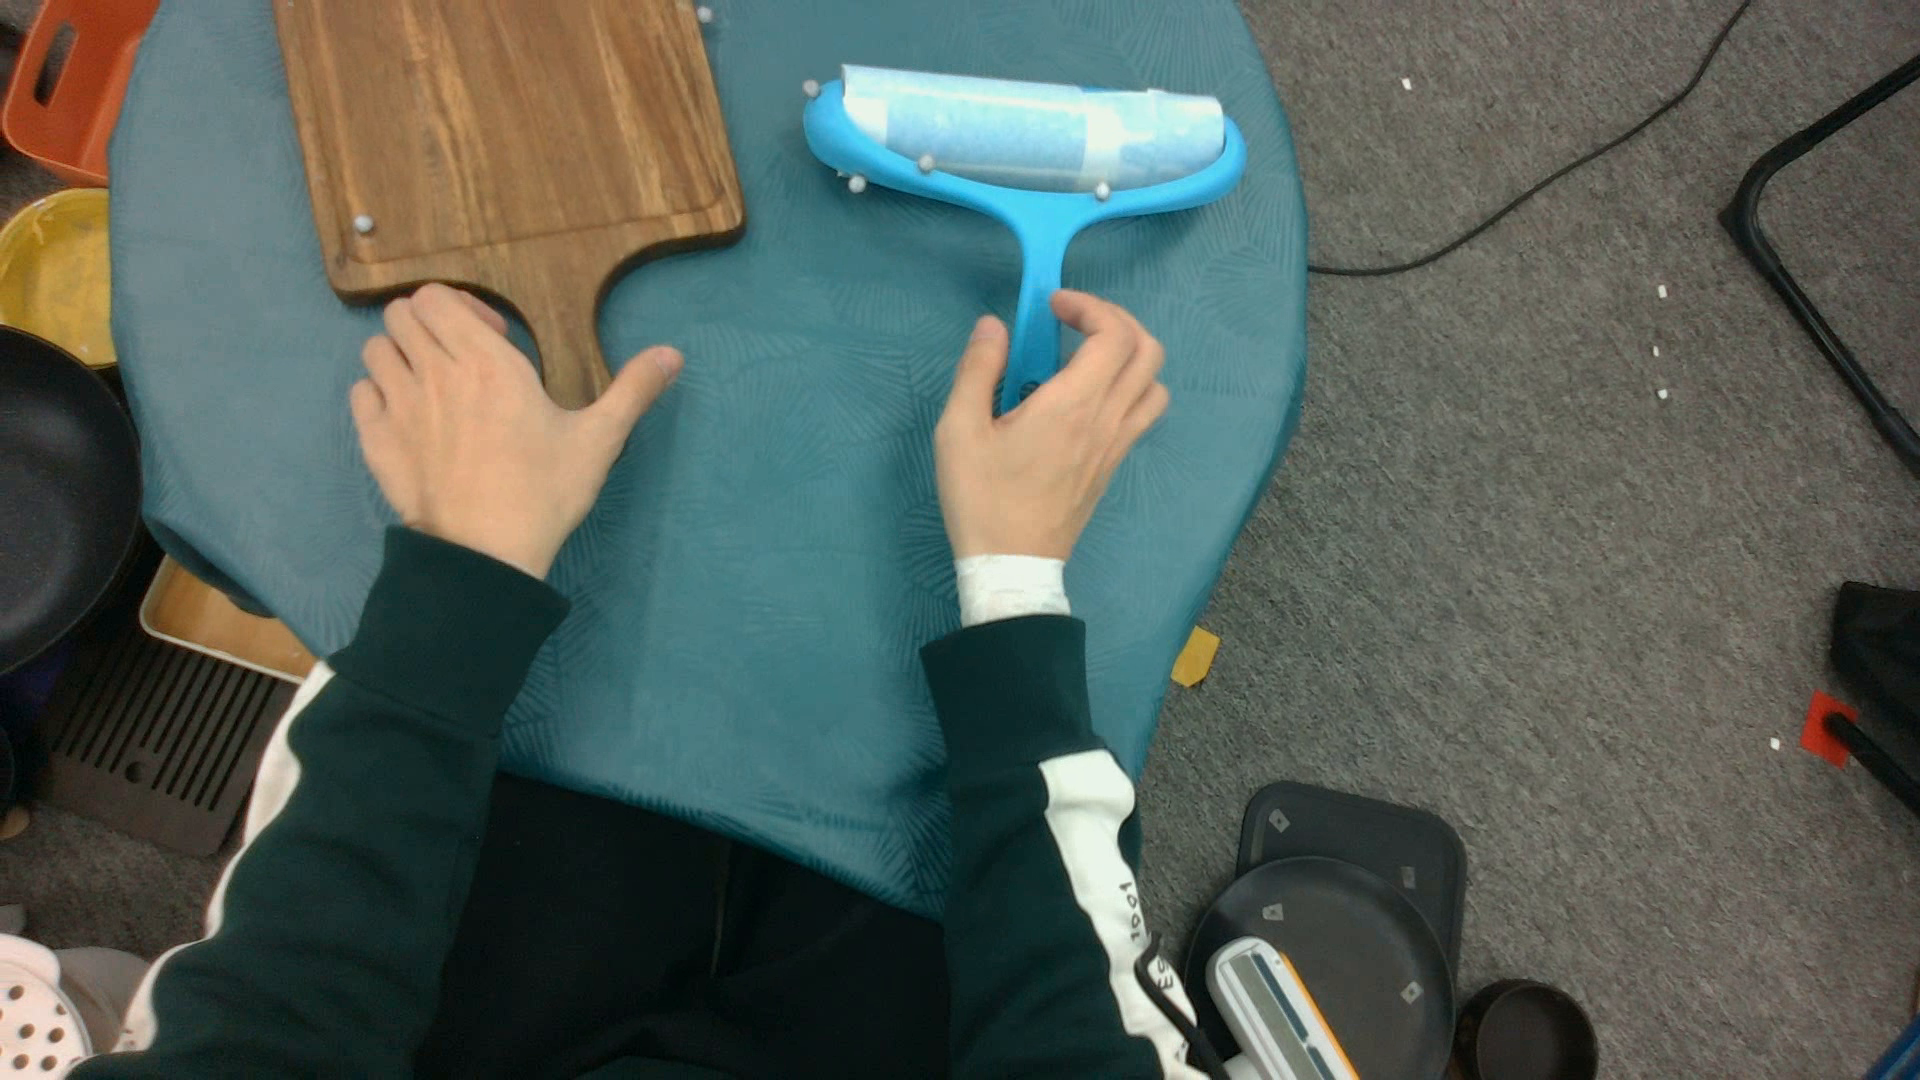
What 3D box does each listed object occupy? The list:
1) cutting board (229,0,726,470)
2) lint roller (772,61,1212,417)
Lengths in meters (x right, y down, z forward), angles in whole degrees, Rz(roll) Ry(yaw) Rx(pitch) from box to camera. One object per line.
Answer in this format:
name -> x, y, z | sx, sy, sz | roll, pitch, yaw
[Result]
cutting board -> -0.231, -0.200, 0.674 | 0.201, 0.023, 0.352 | -16, 81, -13
lint roller -> 0.024, -0.157, 0.696 | 0.229, 0.067, 0.180 | -3, 77, -13
